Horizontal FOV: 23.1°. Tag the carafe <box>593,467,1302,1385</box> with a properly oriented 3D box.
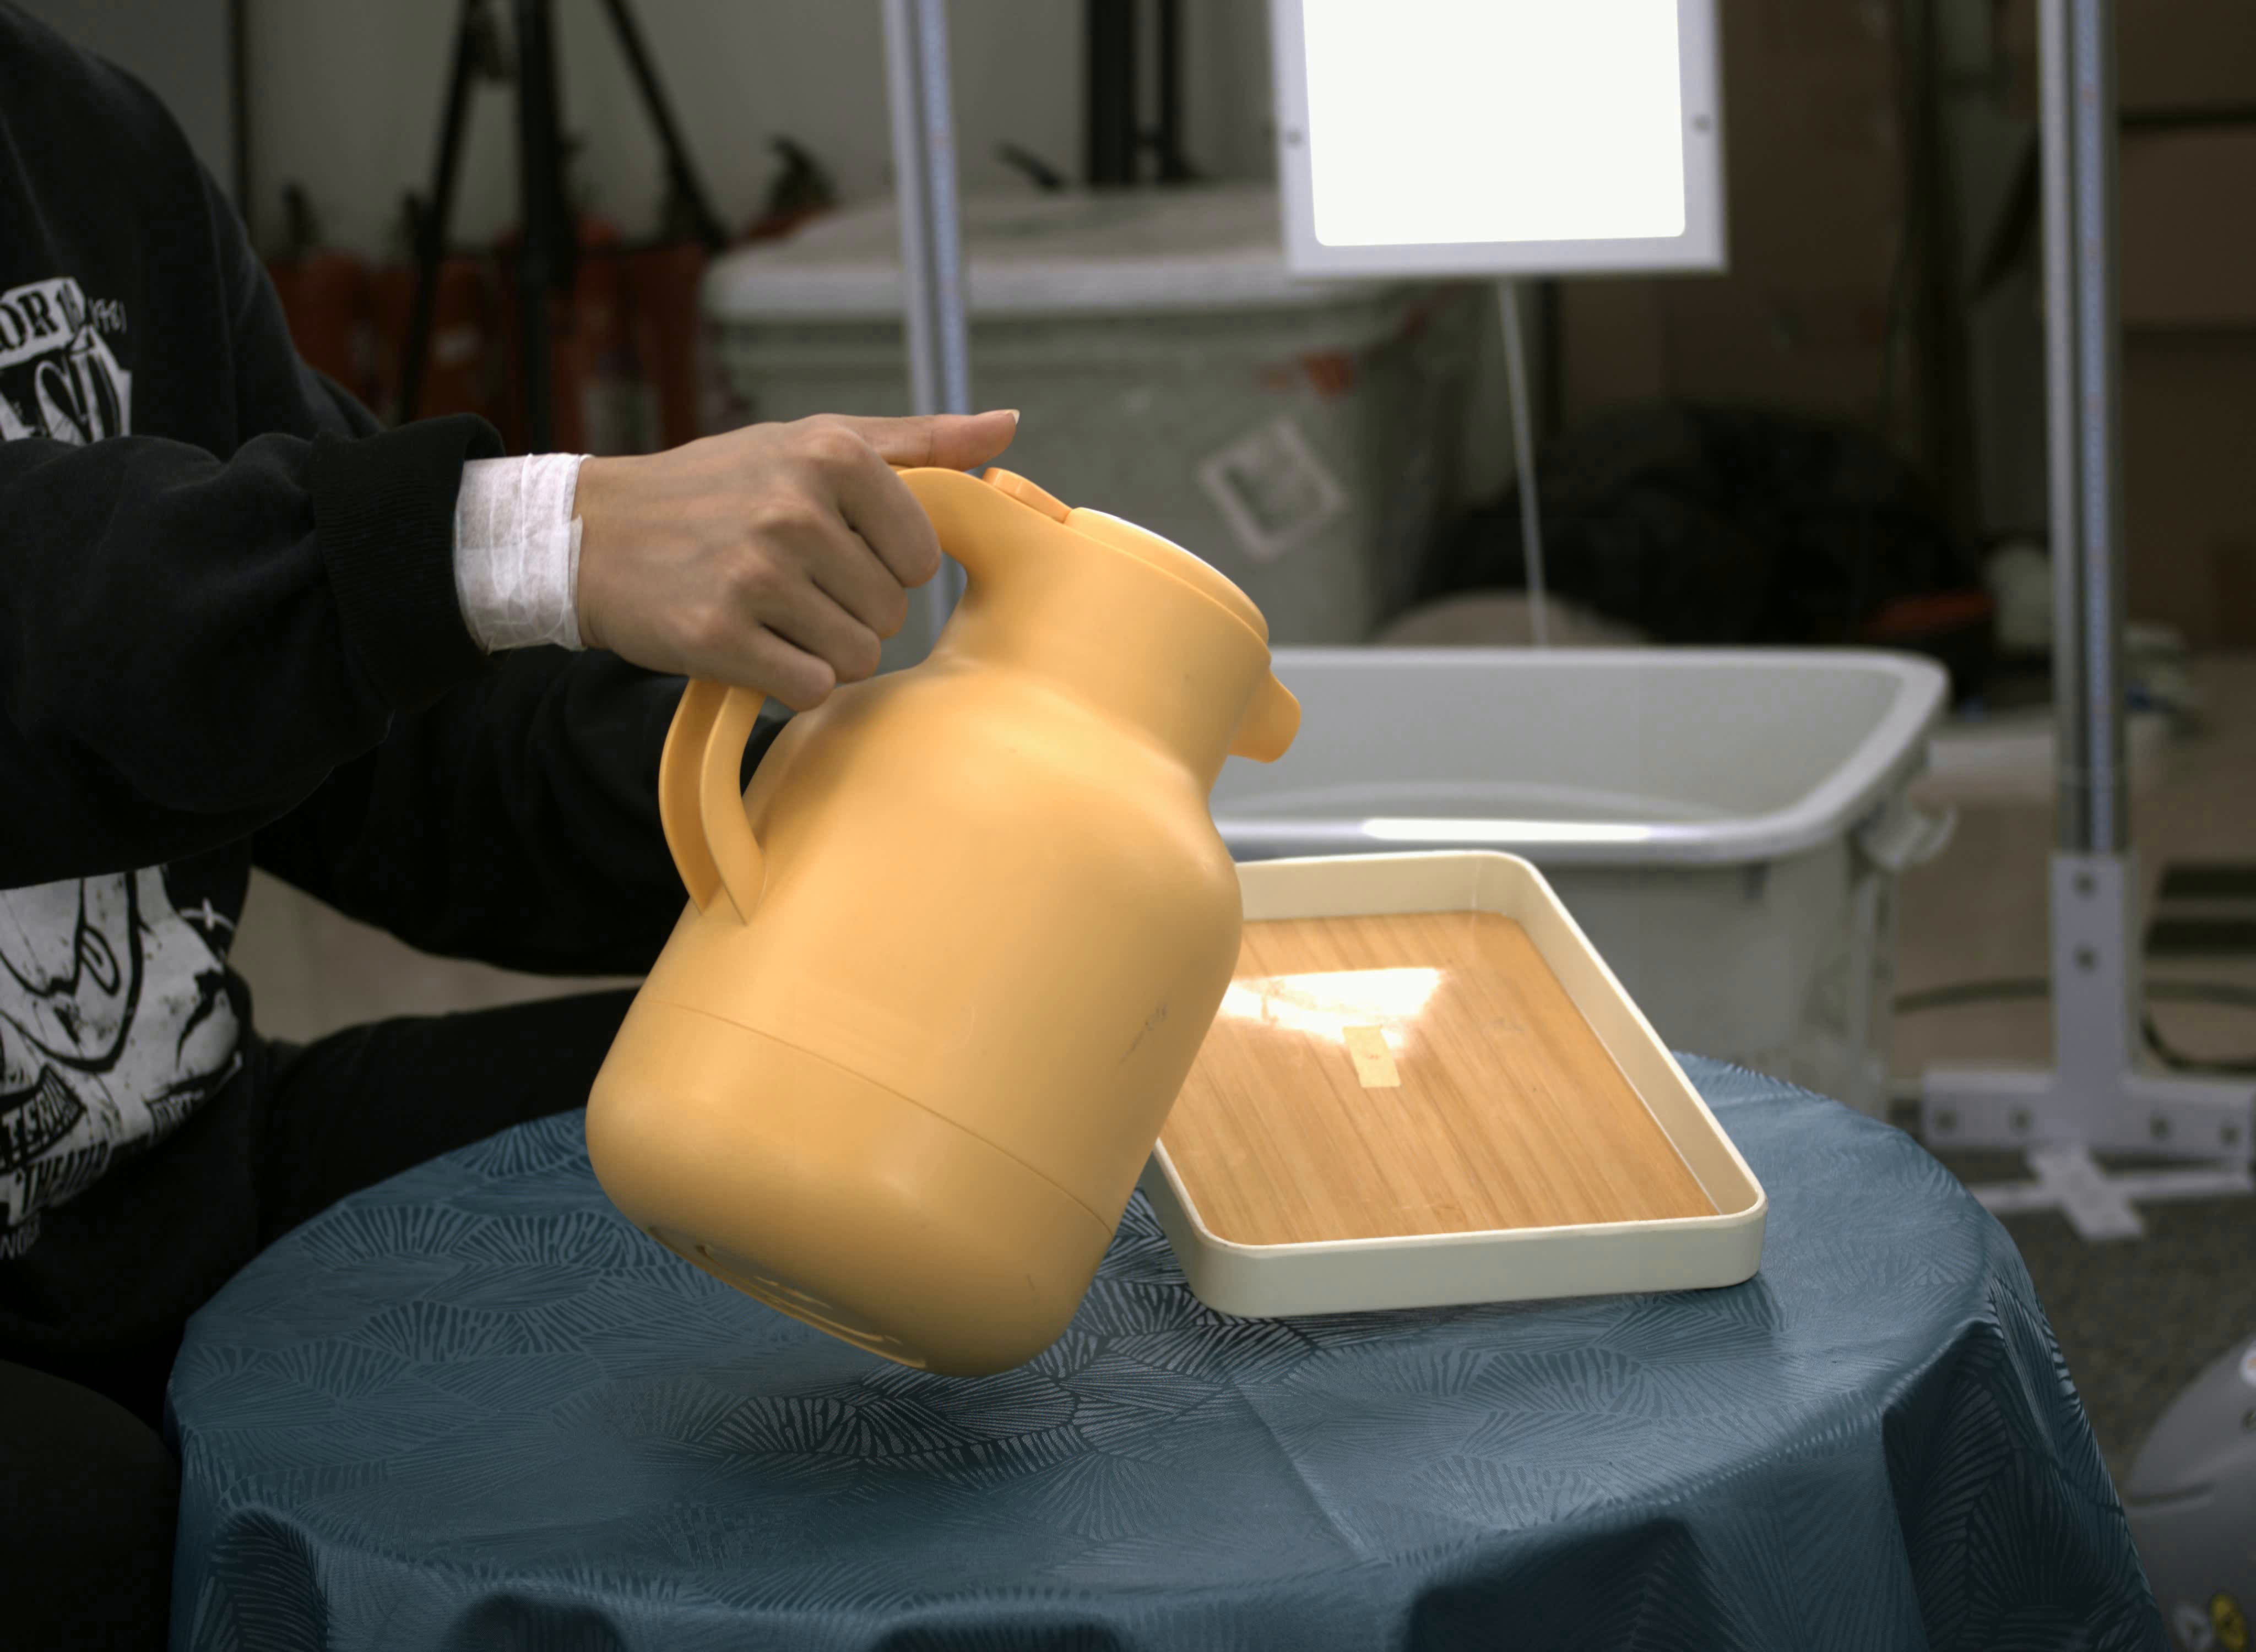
[{"bbox_3d":[-0.061,0.021,1.680,0.199,0.259,0.167,33,-15,-30],"label":"carafe"}]

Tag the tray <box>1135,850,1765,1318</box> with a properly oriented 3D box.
[{"bbox_3d":[0.083,0.082,1.863,0.189,0.027,0.302,-3,23,-11],"label":"tray"}]
